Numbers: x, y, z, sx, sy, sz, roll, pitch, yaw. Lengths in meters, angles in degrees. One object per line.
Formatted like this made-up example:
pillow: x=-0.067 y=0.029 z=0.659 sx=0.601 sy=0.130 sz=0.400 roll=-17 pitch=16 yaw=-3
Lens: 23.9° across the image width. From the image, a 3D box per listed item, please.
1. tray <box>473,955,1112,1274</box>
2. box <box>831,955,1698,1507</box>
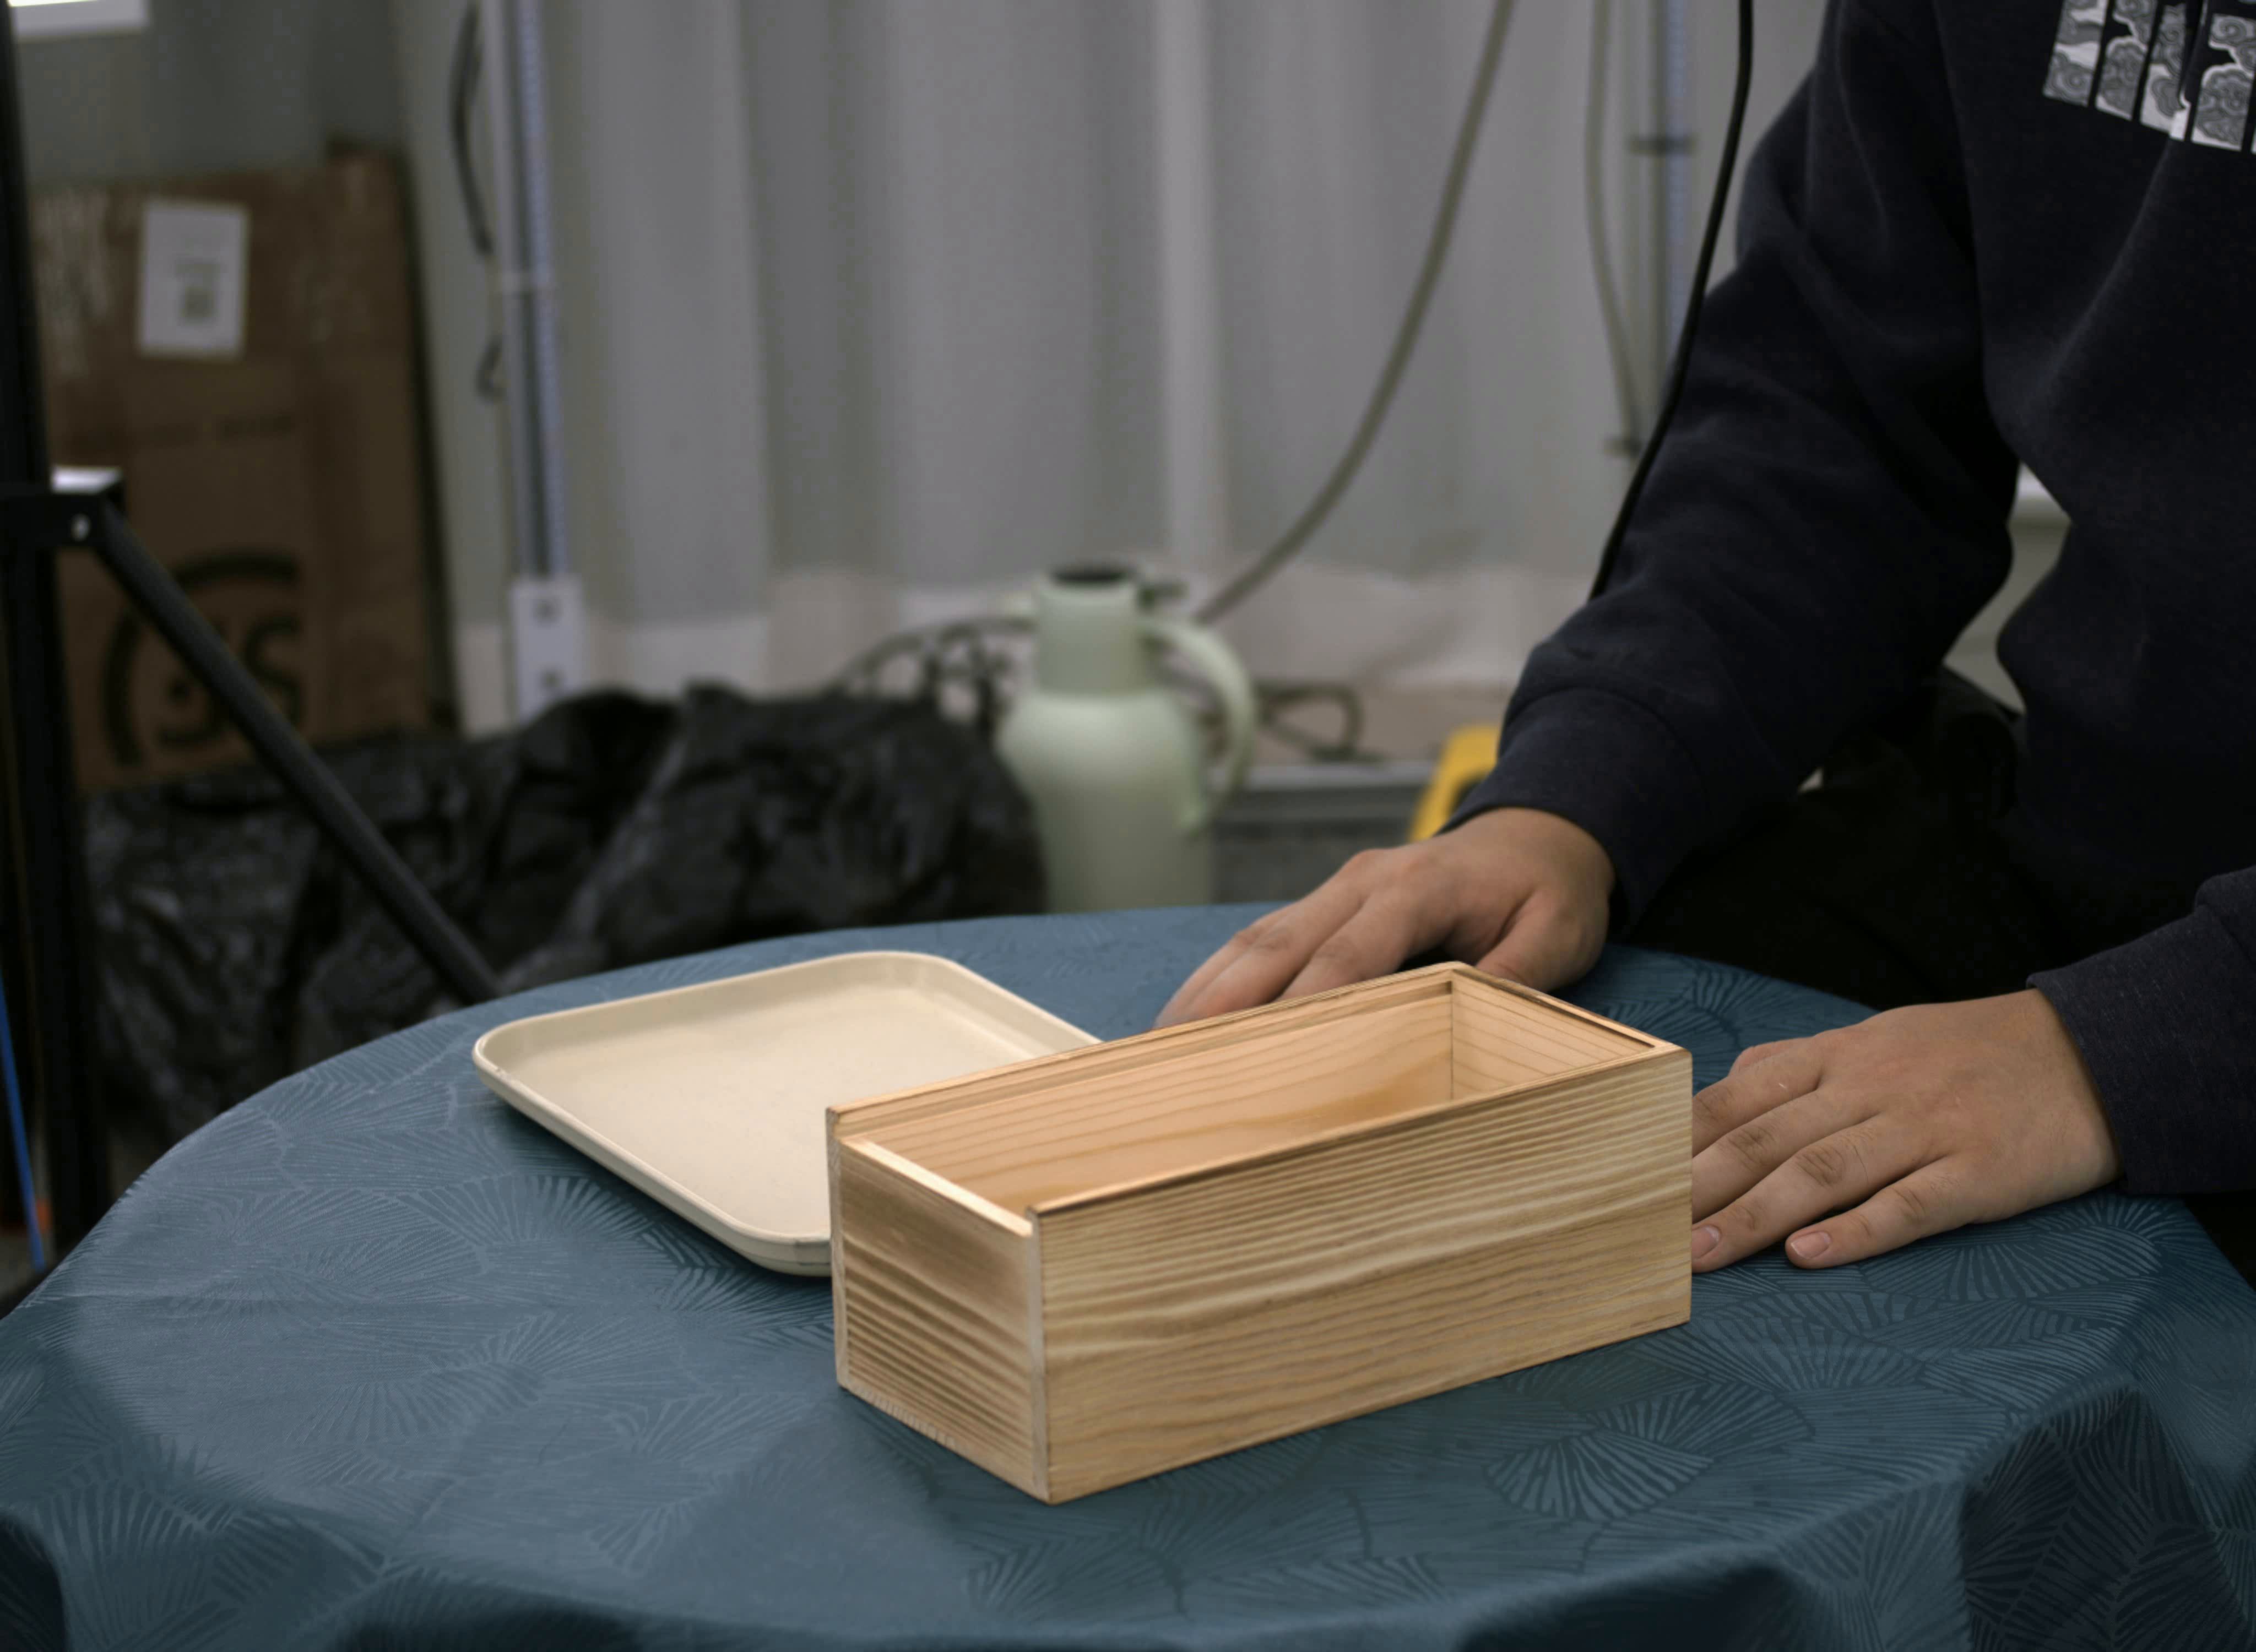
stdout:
tray: x=-0.082 y=0.086 z=1.614 sx=0.167 sy=0.017 sz=0.245 roll=-10 pitch=18 yaw=-28
box: x=0.038 y=0.104 z=1.418 sx=0.206 sy=0.080 sz=0.110 roll=-12 pitch=19 yaw=-31
